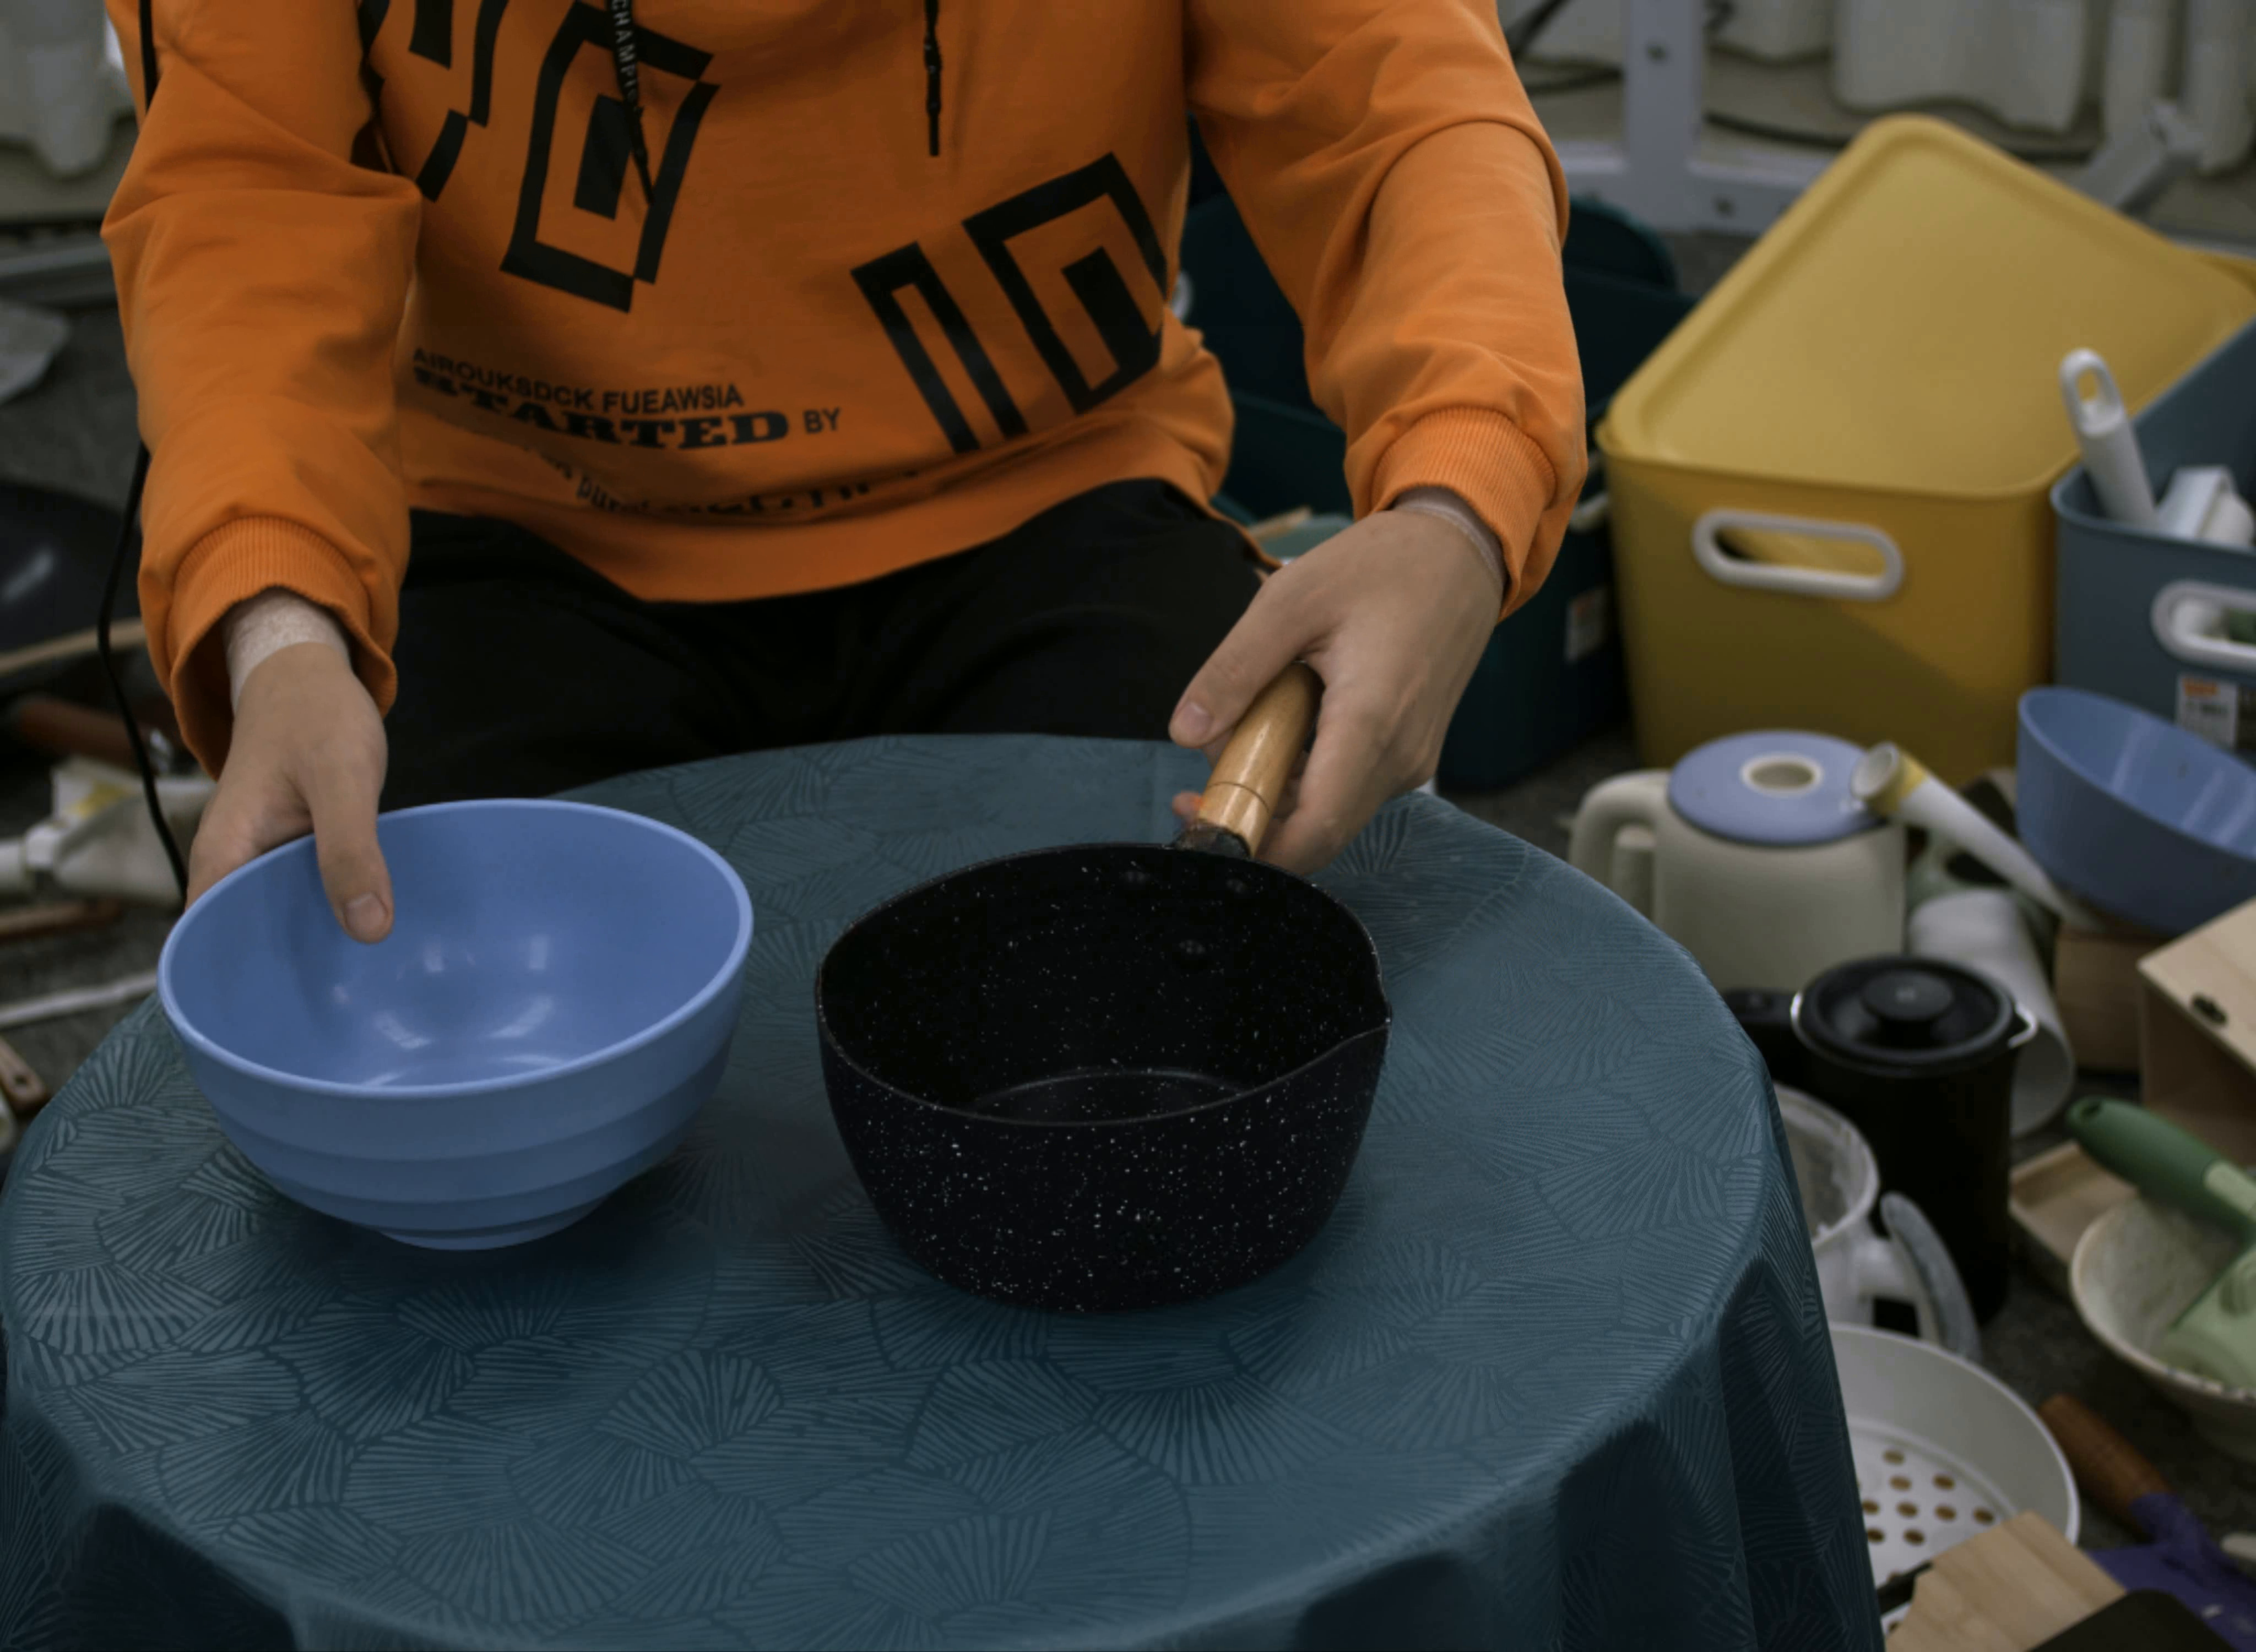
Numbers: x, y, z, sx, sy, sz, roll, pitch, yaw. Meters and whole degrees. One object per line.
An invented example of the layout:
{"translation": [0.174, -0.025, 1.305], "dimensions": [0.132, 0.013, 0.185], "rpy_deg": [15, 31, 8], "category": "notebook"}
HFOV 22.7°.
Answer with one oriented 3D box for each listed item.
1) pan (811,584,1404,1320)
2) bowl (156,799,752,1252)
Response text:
{"translation": [0.017, 0.039, 1.904], "dimensions": [0.206, 0.107, 0.349], "rpy_deg": [5, 30, 18], "category": "pan"}
{"translation": [-0.218, 0.078, 1.866], "dimensions": [0.195, 0.094, 0.199], "rpy_deg": [-3, 28, 2], "category": "bowl"}
